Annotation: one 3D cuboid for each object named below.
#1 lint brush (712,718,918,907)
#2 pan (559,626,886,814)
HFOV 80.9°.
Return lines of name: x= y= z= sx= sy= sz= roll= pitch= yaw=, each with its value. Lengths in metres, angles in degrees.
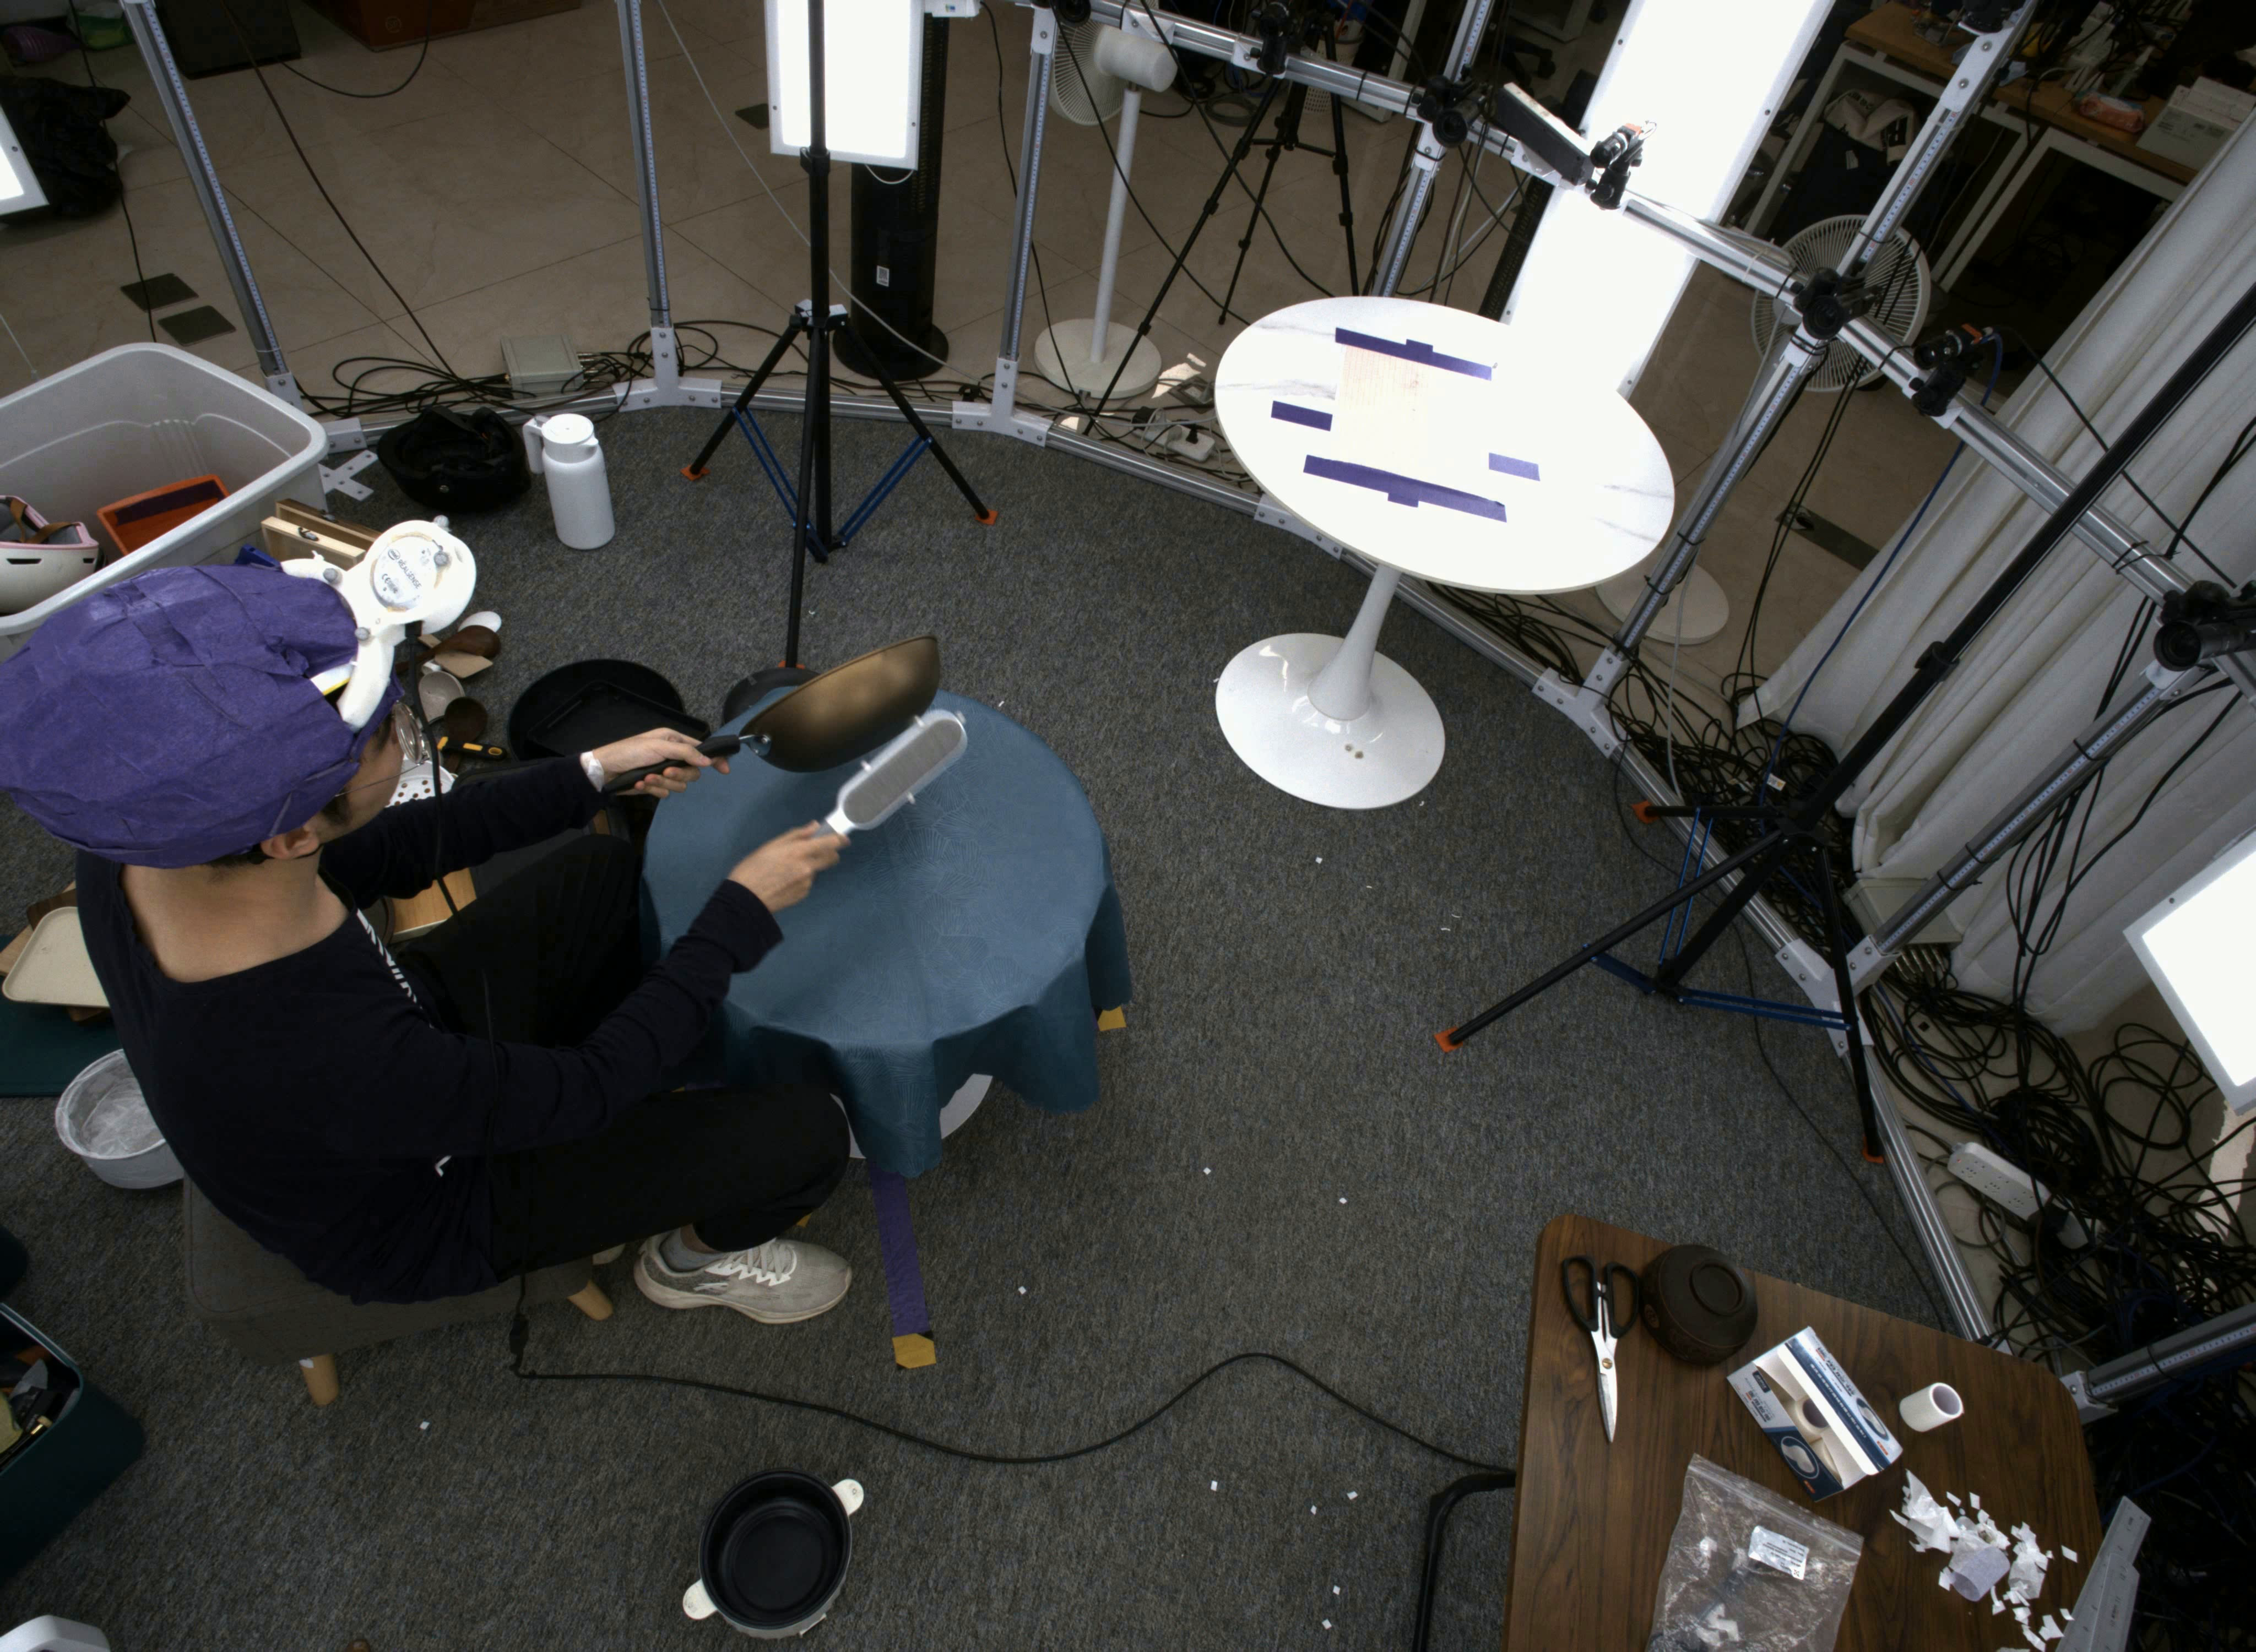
lint brush: x=-0.368 y=-0.018 z=1.523 sx=0.309 sy=0.062 sz=0.020 roll=-44 pitch=28 yaw=-16
pan: x=-0.474 y=-0.098 z=1.567 sx=0.465 sy=0.285 sz=0.087 roll=-32 pitch=90 yaw=-35
